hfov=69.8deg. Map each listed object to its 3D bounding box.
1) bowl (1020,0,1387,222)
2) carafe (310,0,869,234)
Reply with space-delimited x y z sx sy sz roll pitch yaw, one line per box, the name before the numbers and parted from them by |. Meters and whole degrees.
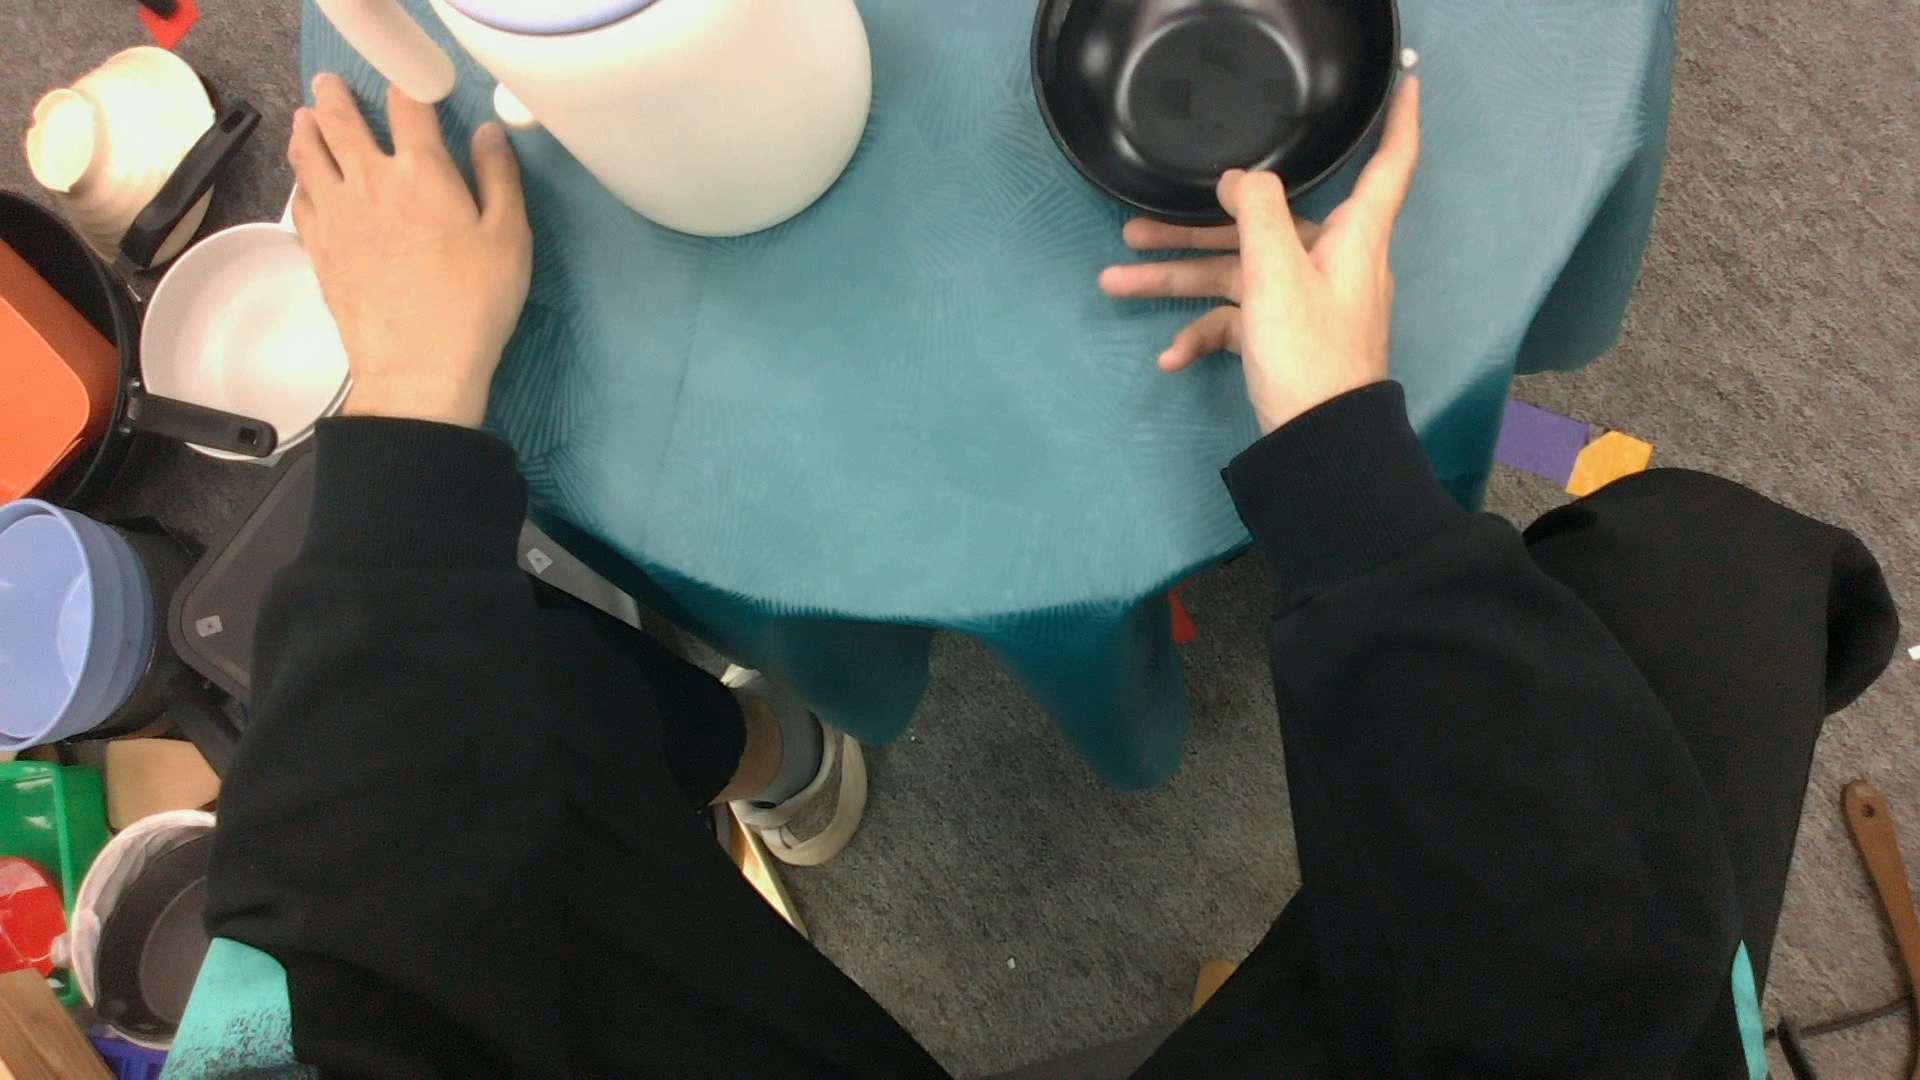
bowl | 0.095 -0.188 0.550 0.140 0.050 0.140 -1 83 8
carafe | -0.138 -0.202 0.522 0.191 0.182 0.132 -9 79 9
